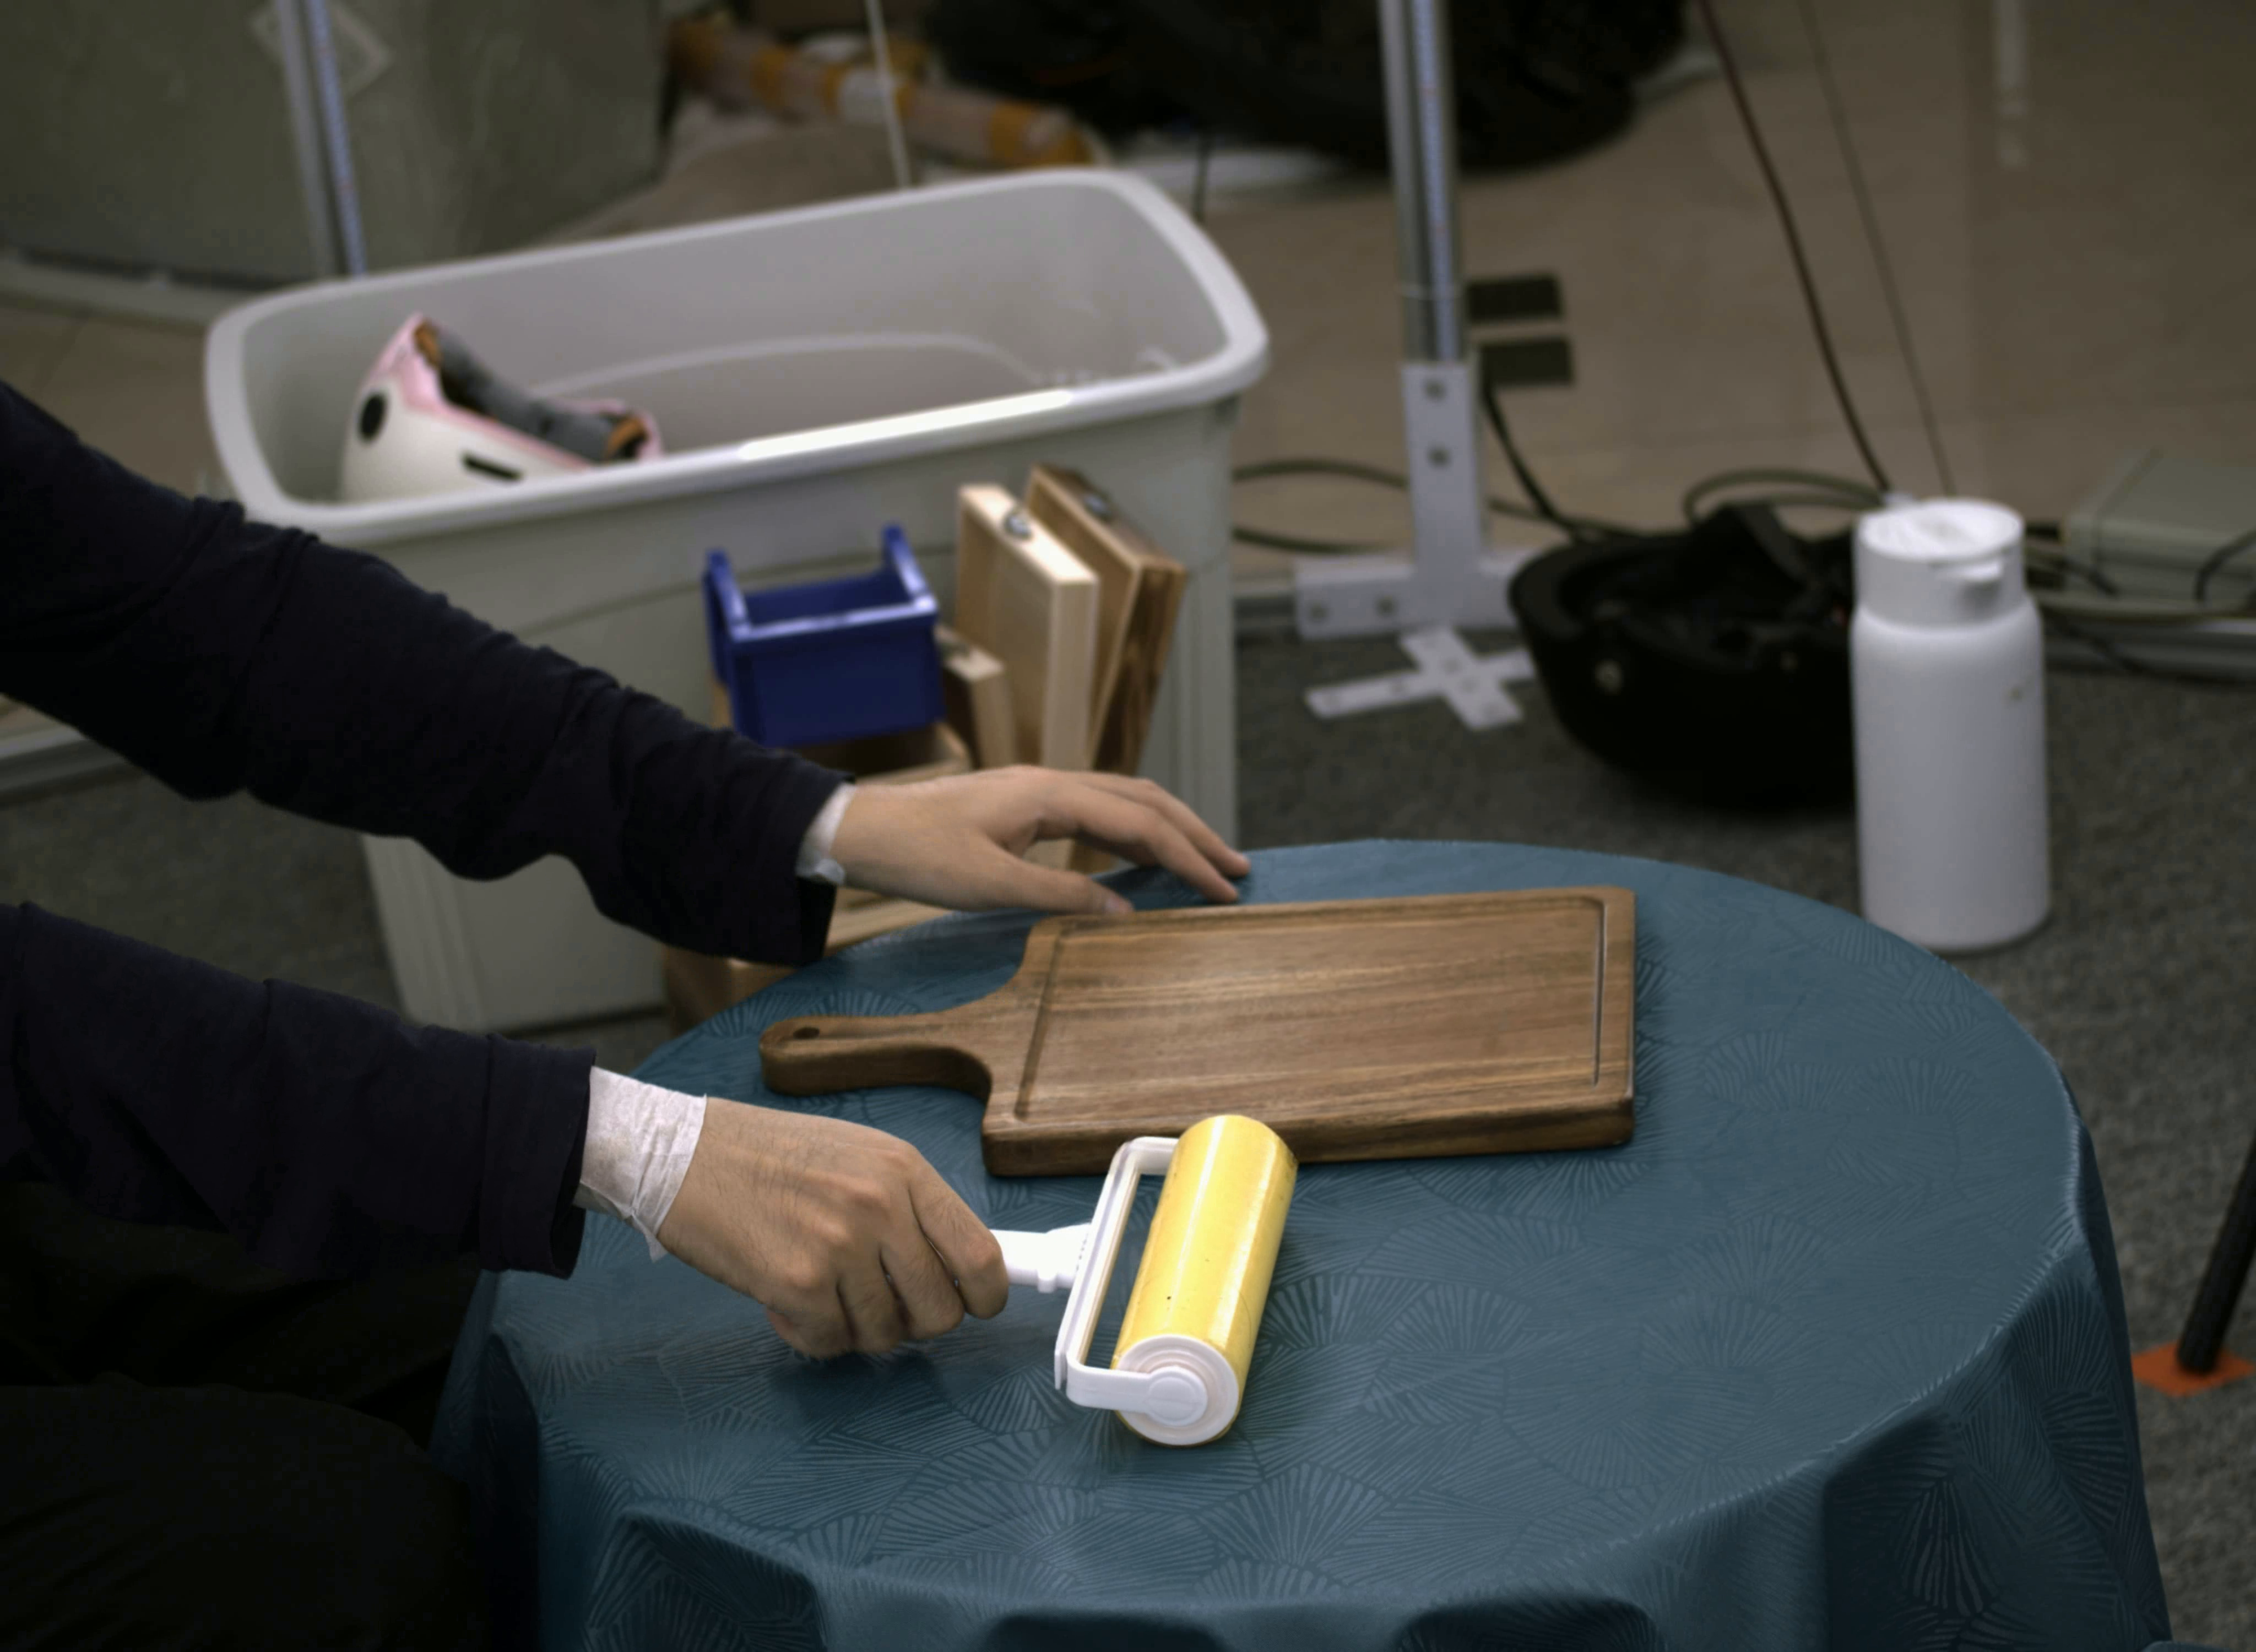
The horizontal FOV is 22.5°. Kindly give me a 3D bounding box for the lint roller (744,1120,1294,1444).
[{"bbox_3d":[-0.042,0.150,2.041,0.191,0.052,0.172,12,26,2],"label":"lint roller"}]

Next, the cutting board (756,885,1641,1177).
[{"bbox_3d":[0.027,0.082,2.243,0.351,0.023,0.198,-4,24,7],"label":"cutting board"}]
